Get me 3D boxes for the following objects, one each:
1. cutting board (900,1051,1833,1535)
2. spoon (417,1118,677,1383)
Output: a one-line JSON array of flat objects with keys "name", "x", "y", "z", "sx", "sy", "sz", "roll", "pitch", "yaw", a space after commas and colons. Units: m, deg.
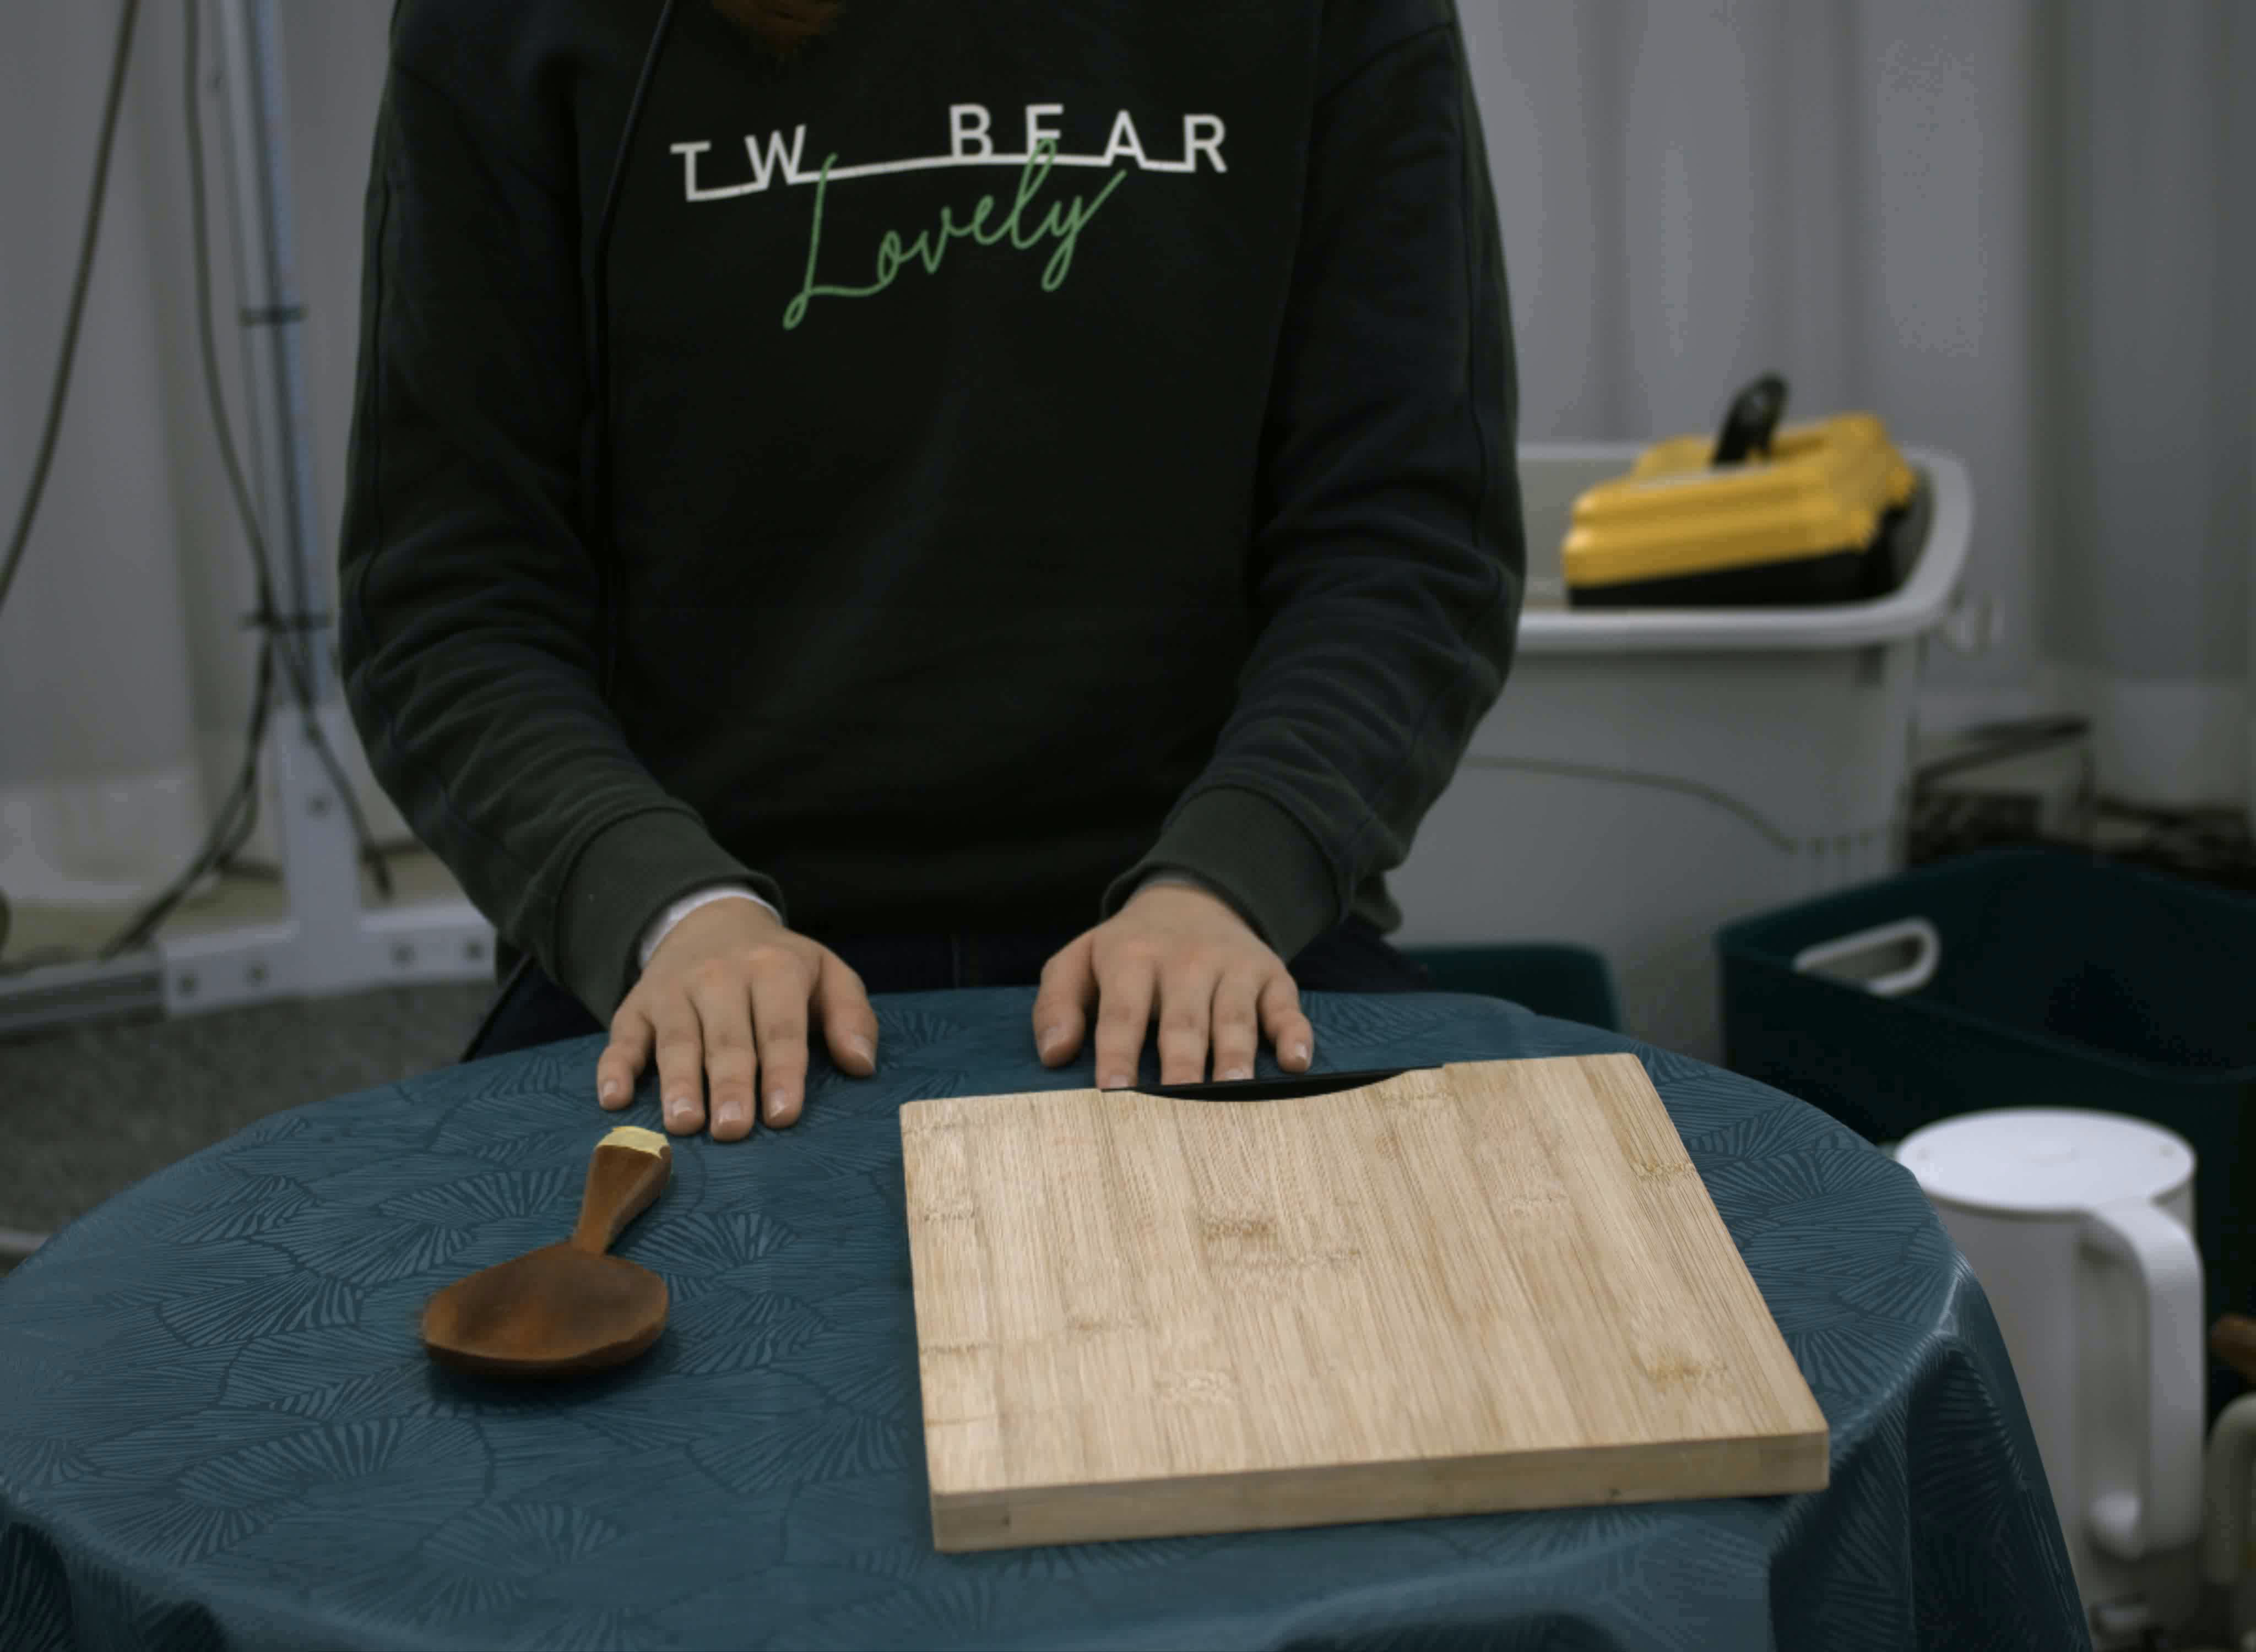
[{"name": "cutting board", "x": 0.057, "y": 0.132, "z": 1.608, "sx": 0.250, "sy": 0.023, "sz": 0.351, "roll": -3, "pitch": 15, "yaw": -4}, {"name": "spoon", "x": -0.164, "y": 0.130, "z": 1.655, "sx": 0.075, "sy": 0.017, "sz": 0.217, "roll": -3, "pitch": 15, "yaw": 5}]
